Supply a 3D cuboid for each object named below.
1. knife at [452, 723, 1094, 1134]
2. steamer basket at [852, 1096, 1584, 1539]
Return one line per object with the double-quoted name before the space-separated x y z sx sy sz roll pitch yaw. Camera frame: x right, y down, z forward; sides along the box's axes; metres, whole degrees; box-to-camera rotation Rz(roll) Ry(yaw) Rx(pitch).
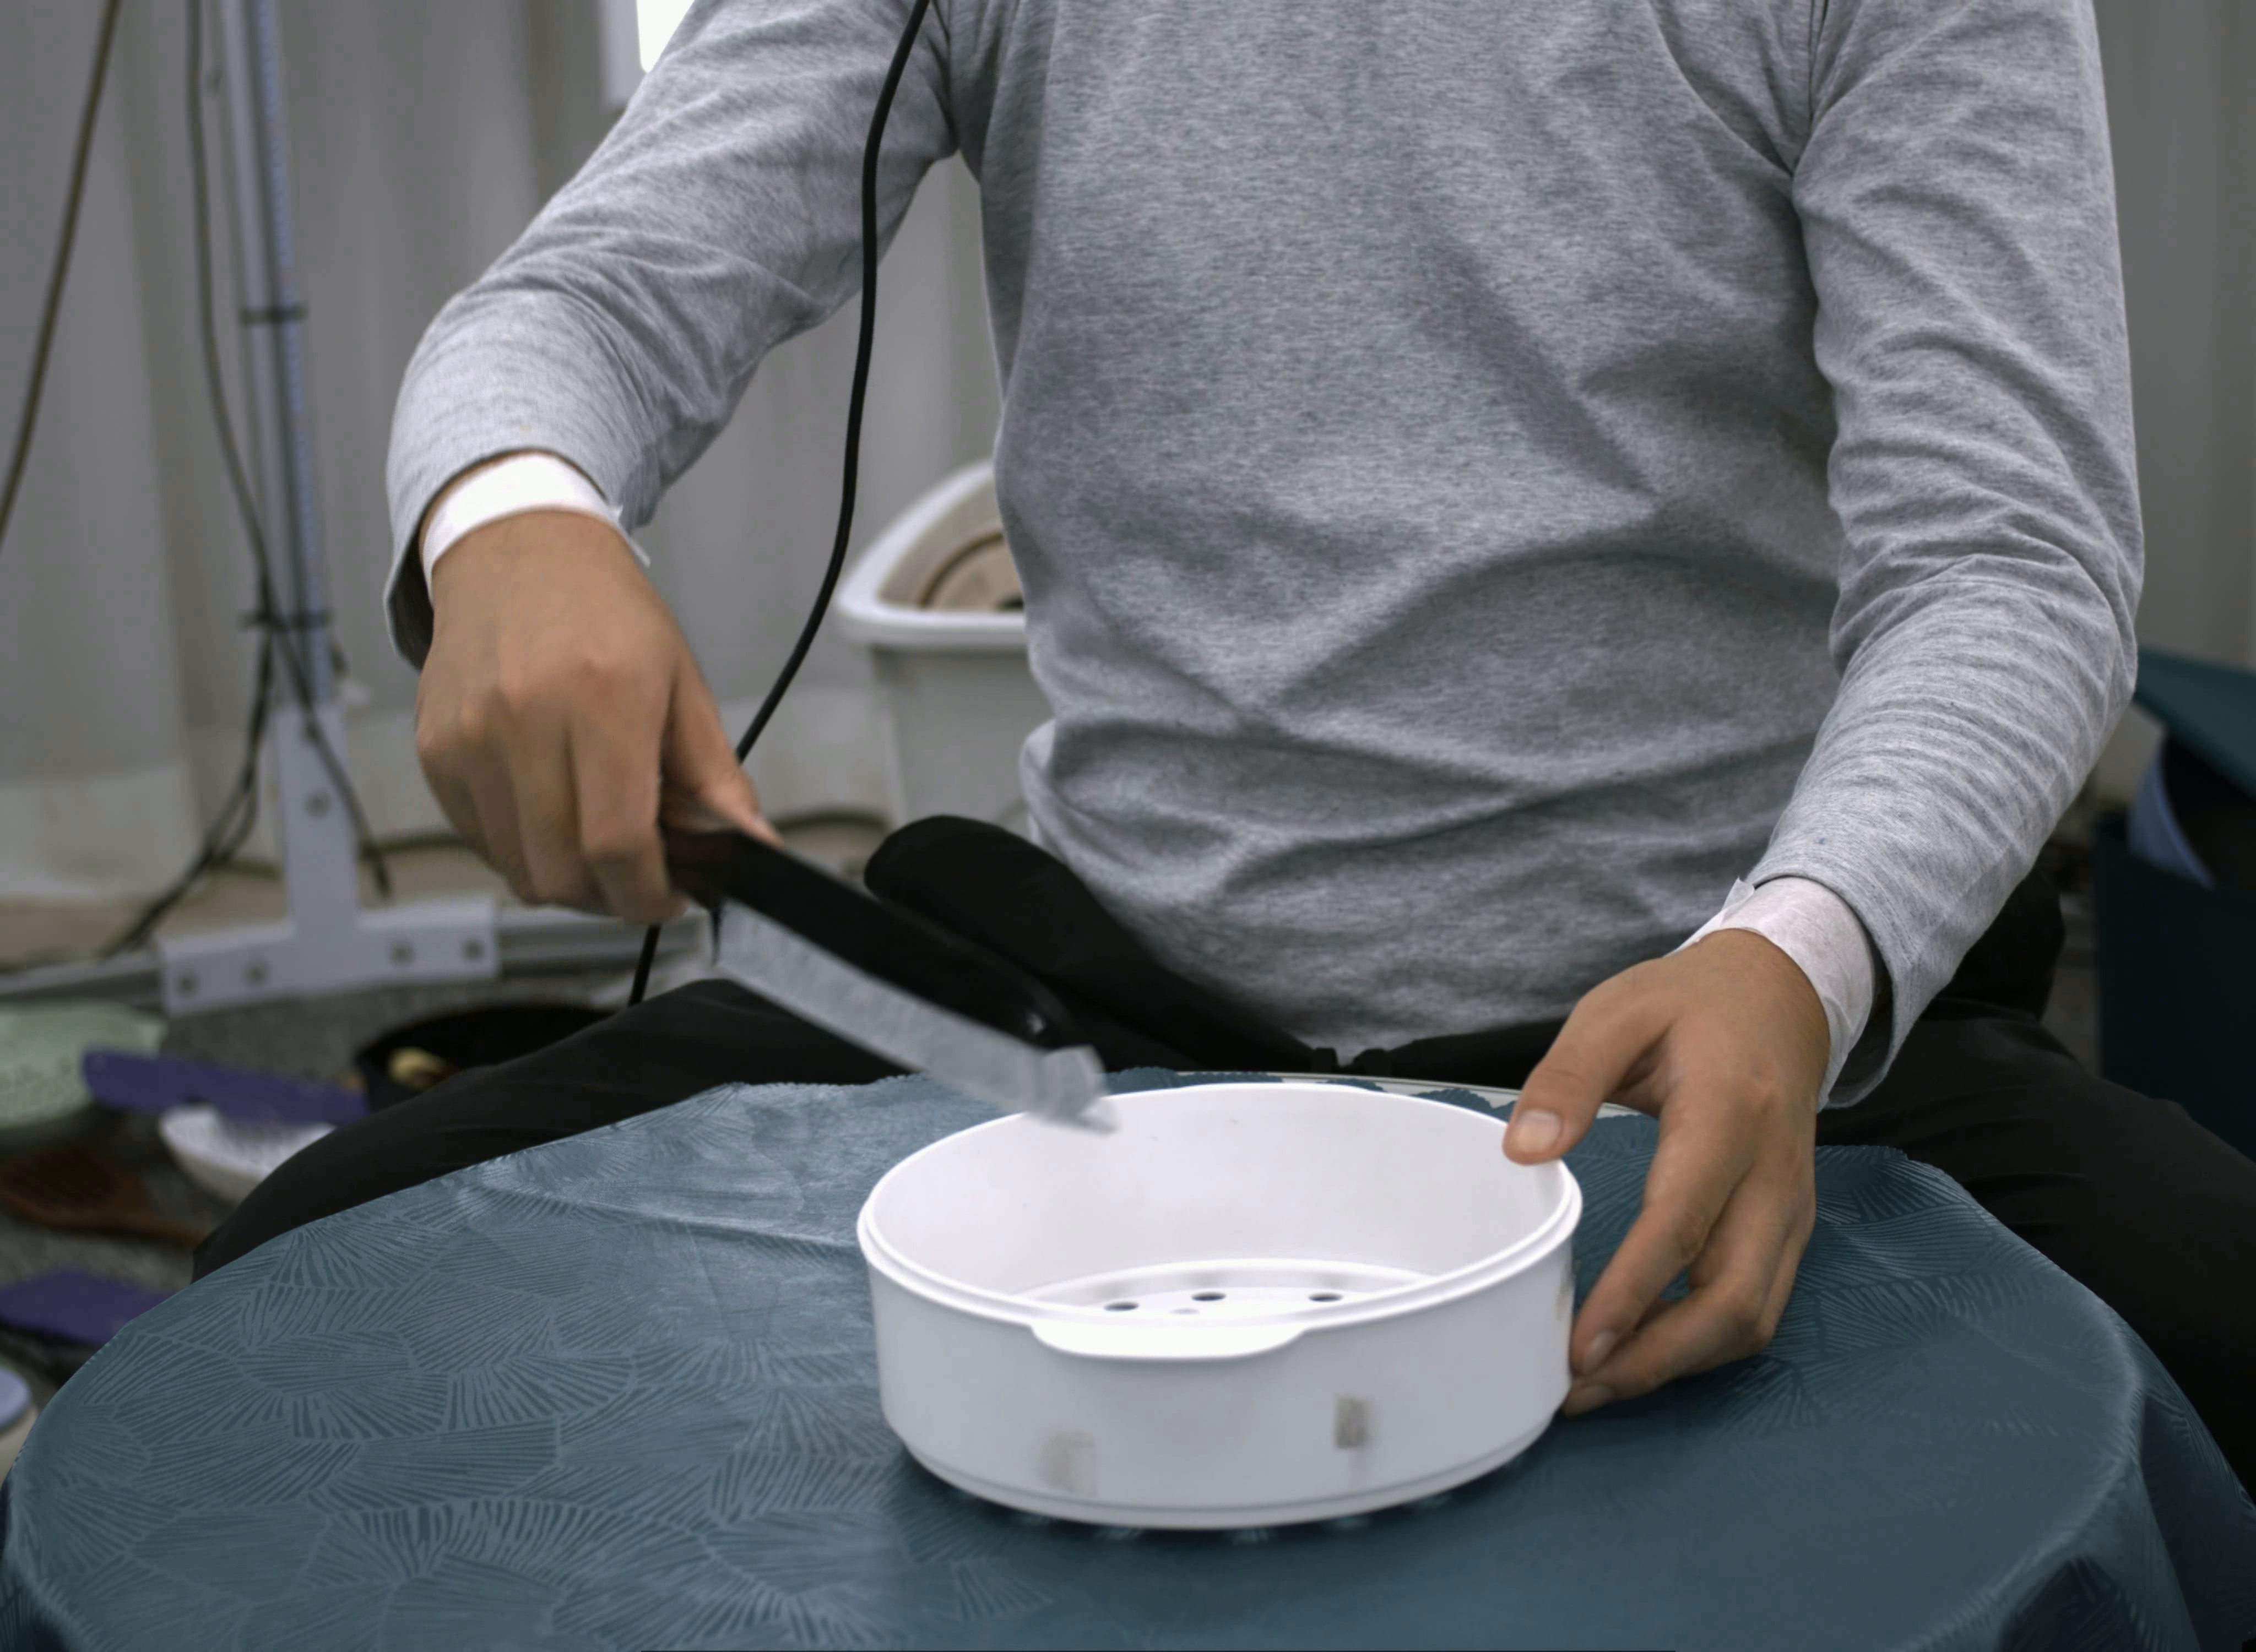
"knife" -0.102 0.026 1.525 0.020 0.050 0.292 -12 28 -39
"steamer basket" 0.026 0.135 1.508 0.201 0.069 0.231 0 14 10
